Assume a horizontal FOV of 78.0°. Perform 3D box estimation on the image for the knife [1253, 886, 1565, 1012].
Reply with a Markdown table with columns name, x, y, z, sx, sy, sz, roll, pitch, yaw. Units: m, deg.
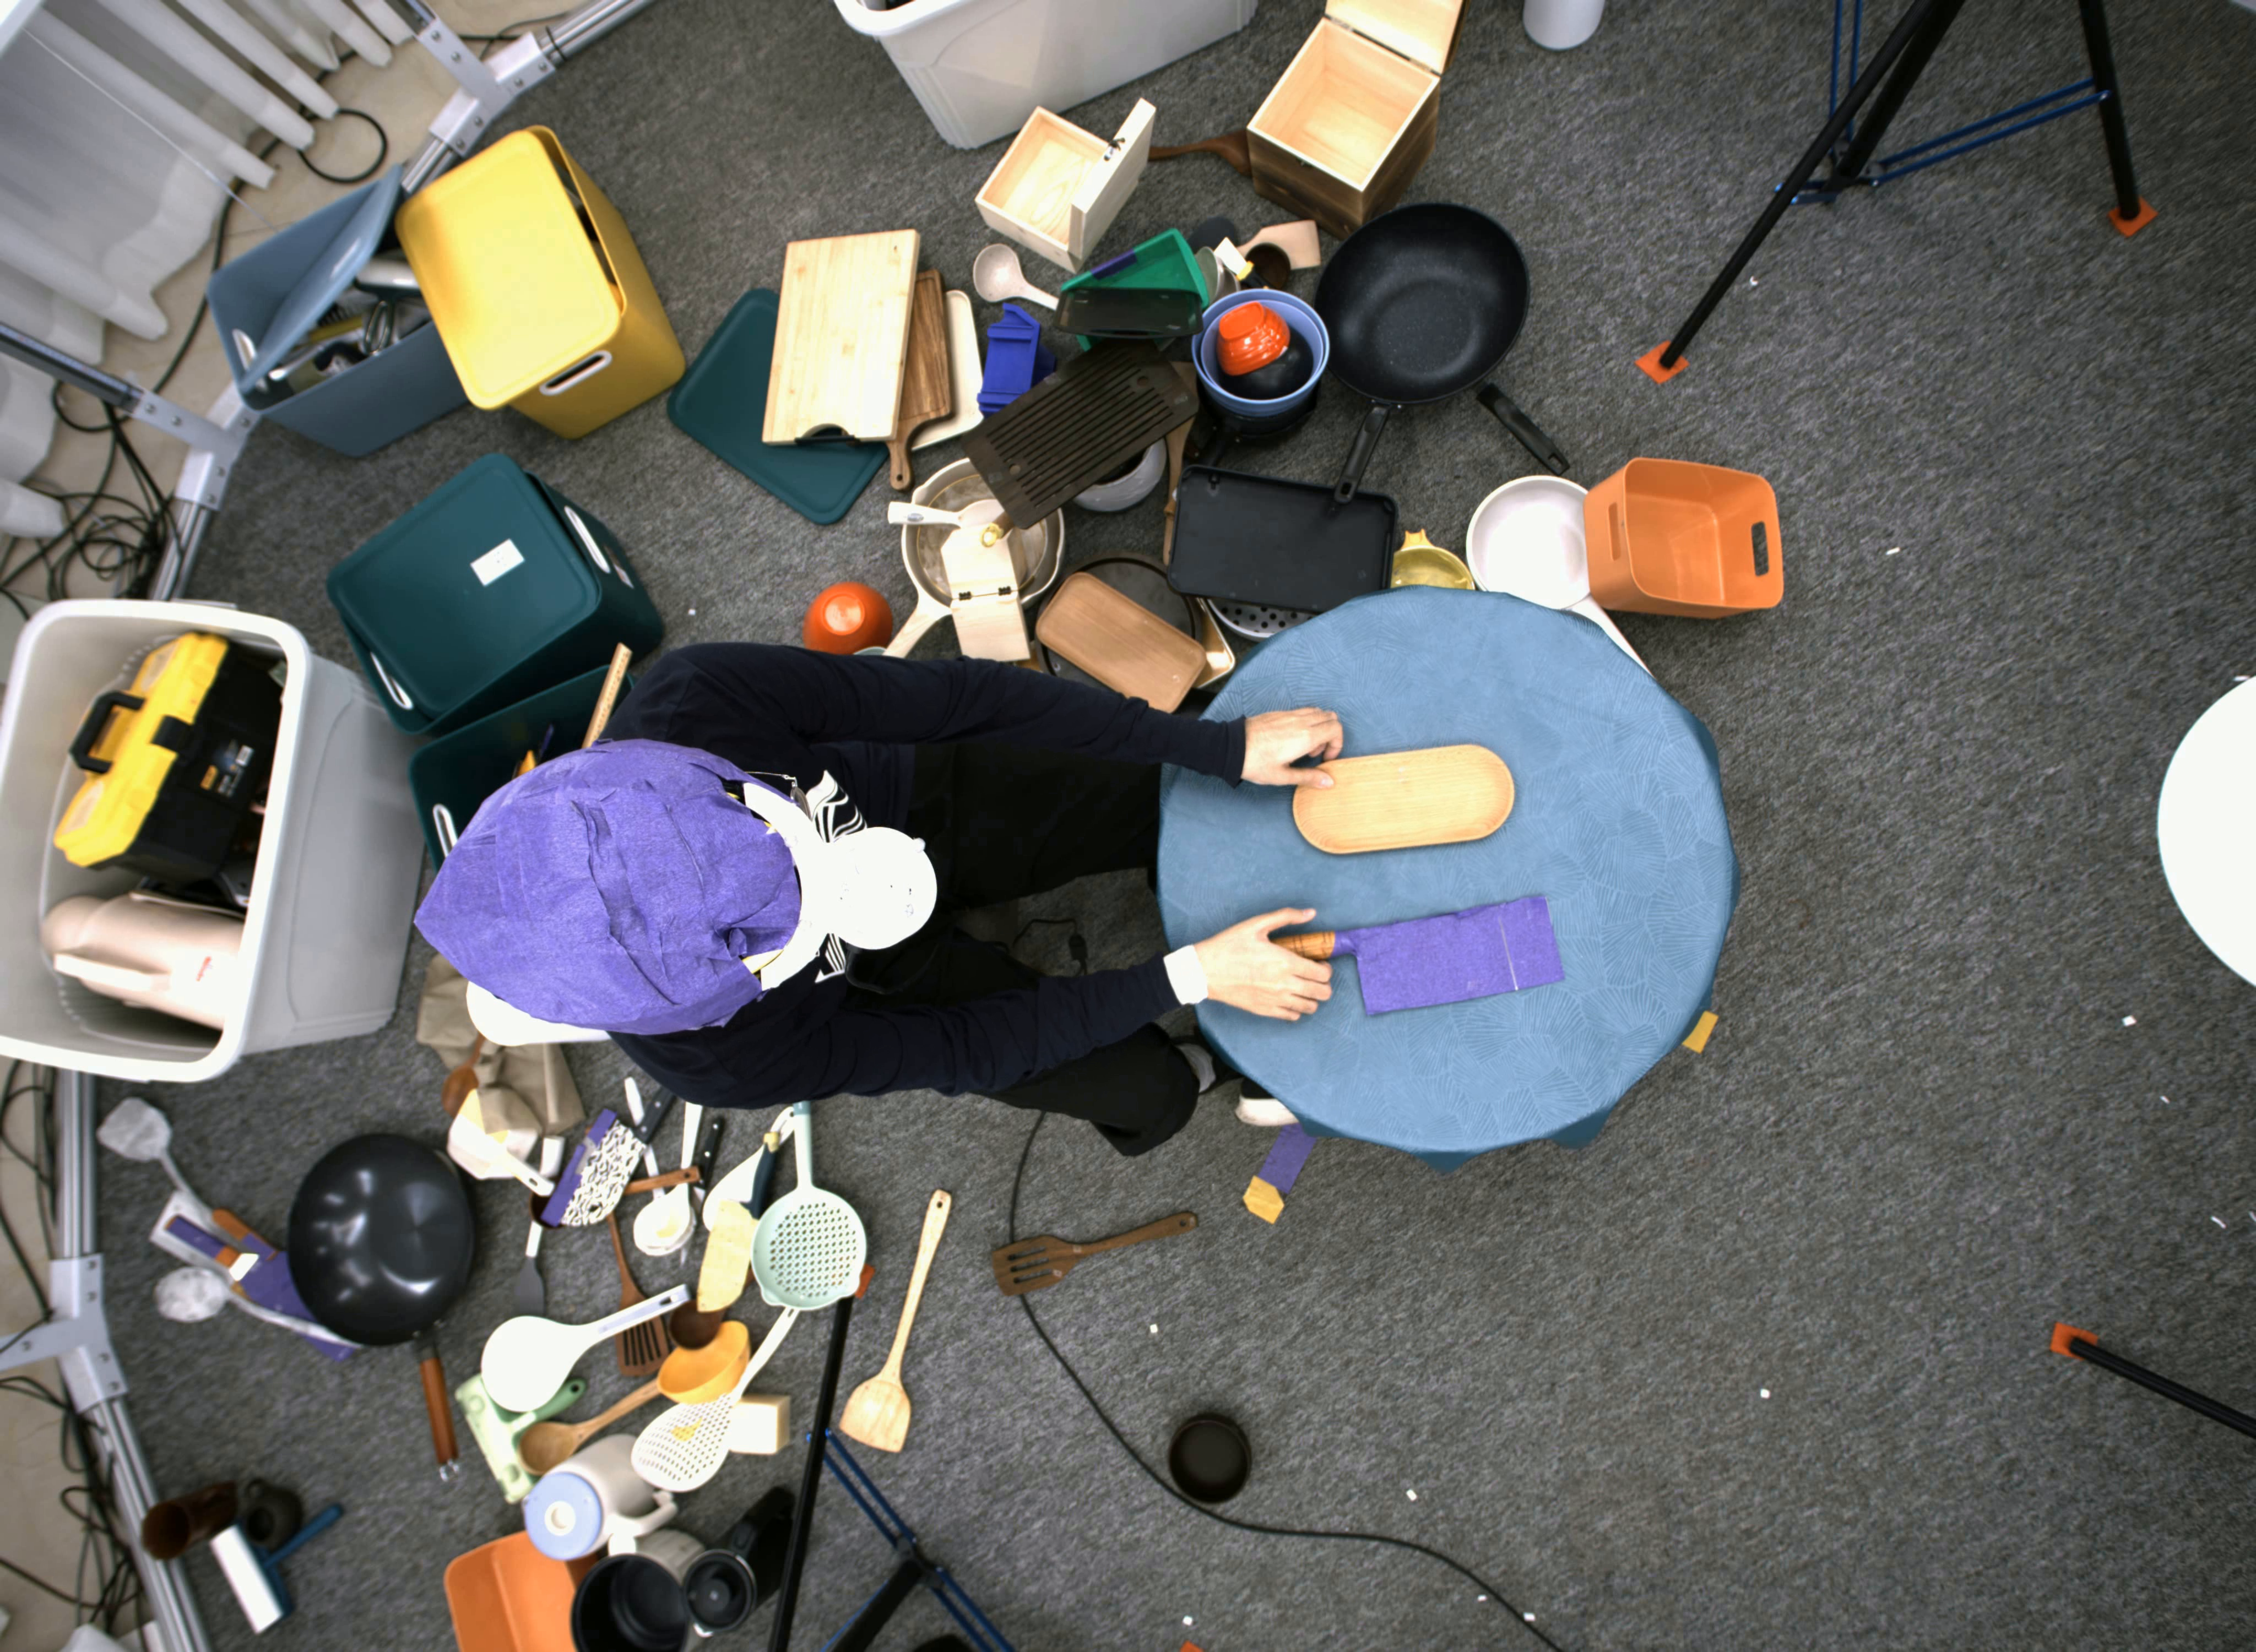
| name | x | y | z | sx | sy | sz | roll | pitch | yaw |
| --- | --- | --- | --- | --- | --- | --- | --- | --- | --- |
| knife | 0.292 | 0.140 | 1.438 | 0.317 | 0.032 | 0.103 | -12 | 84 | 9 |

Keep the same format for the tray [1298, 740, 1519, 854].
| name | x | y | z | sx | sy | sz | roll | pitch | yaw |
| --- | --- | --- | --- | --- | --- | --- | --- | --- | --- |
| tray | 0.294 | -0.032 | 1.452 | 0.232 | 0.020 | 0.101 | -9 | 89 | 9 |
